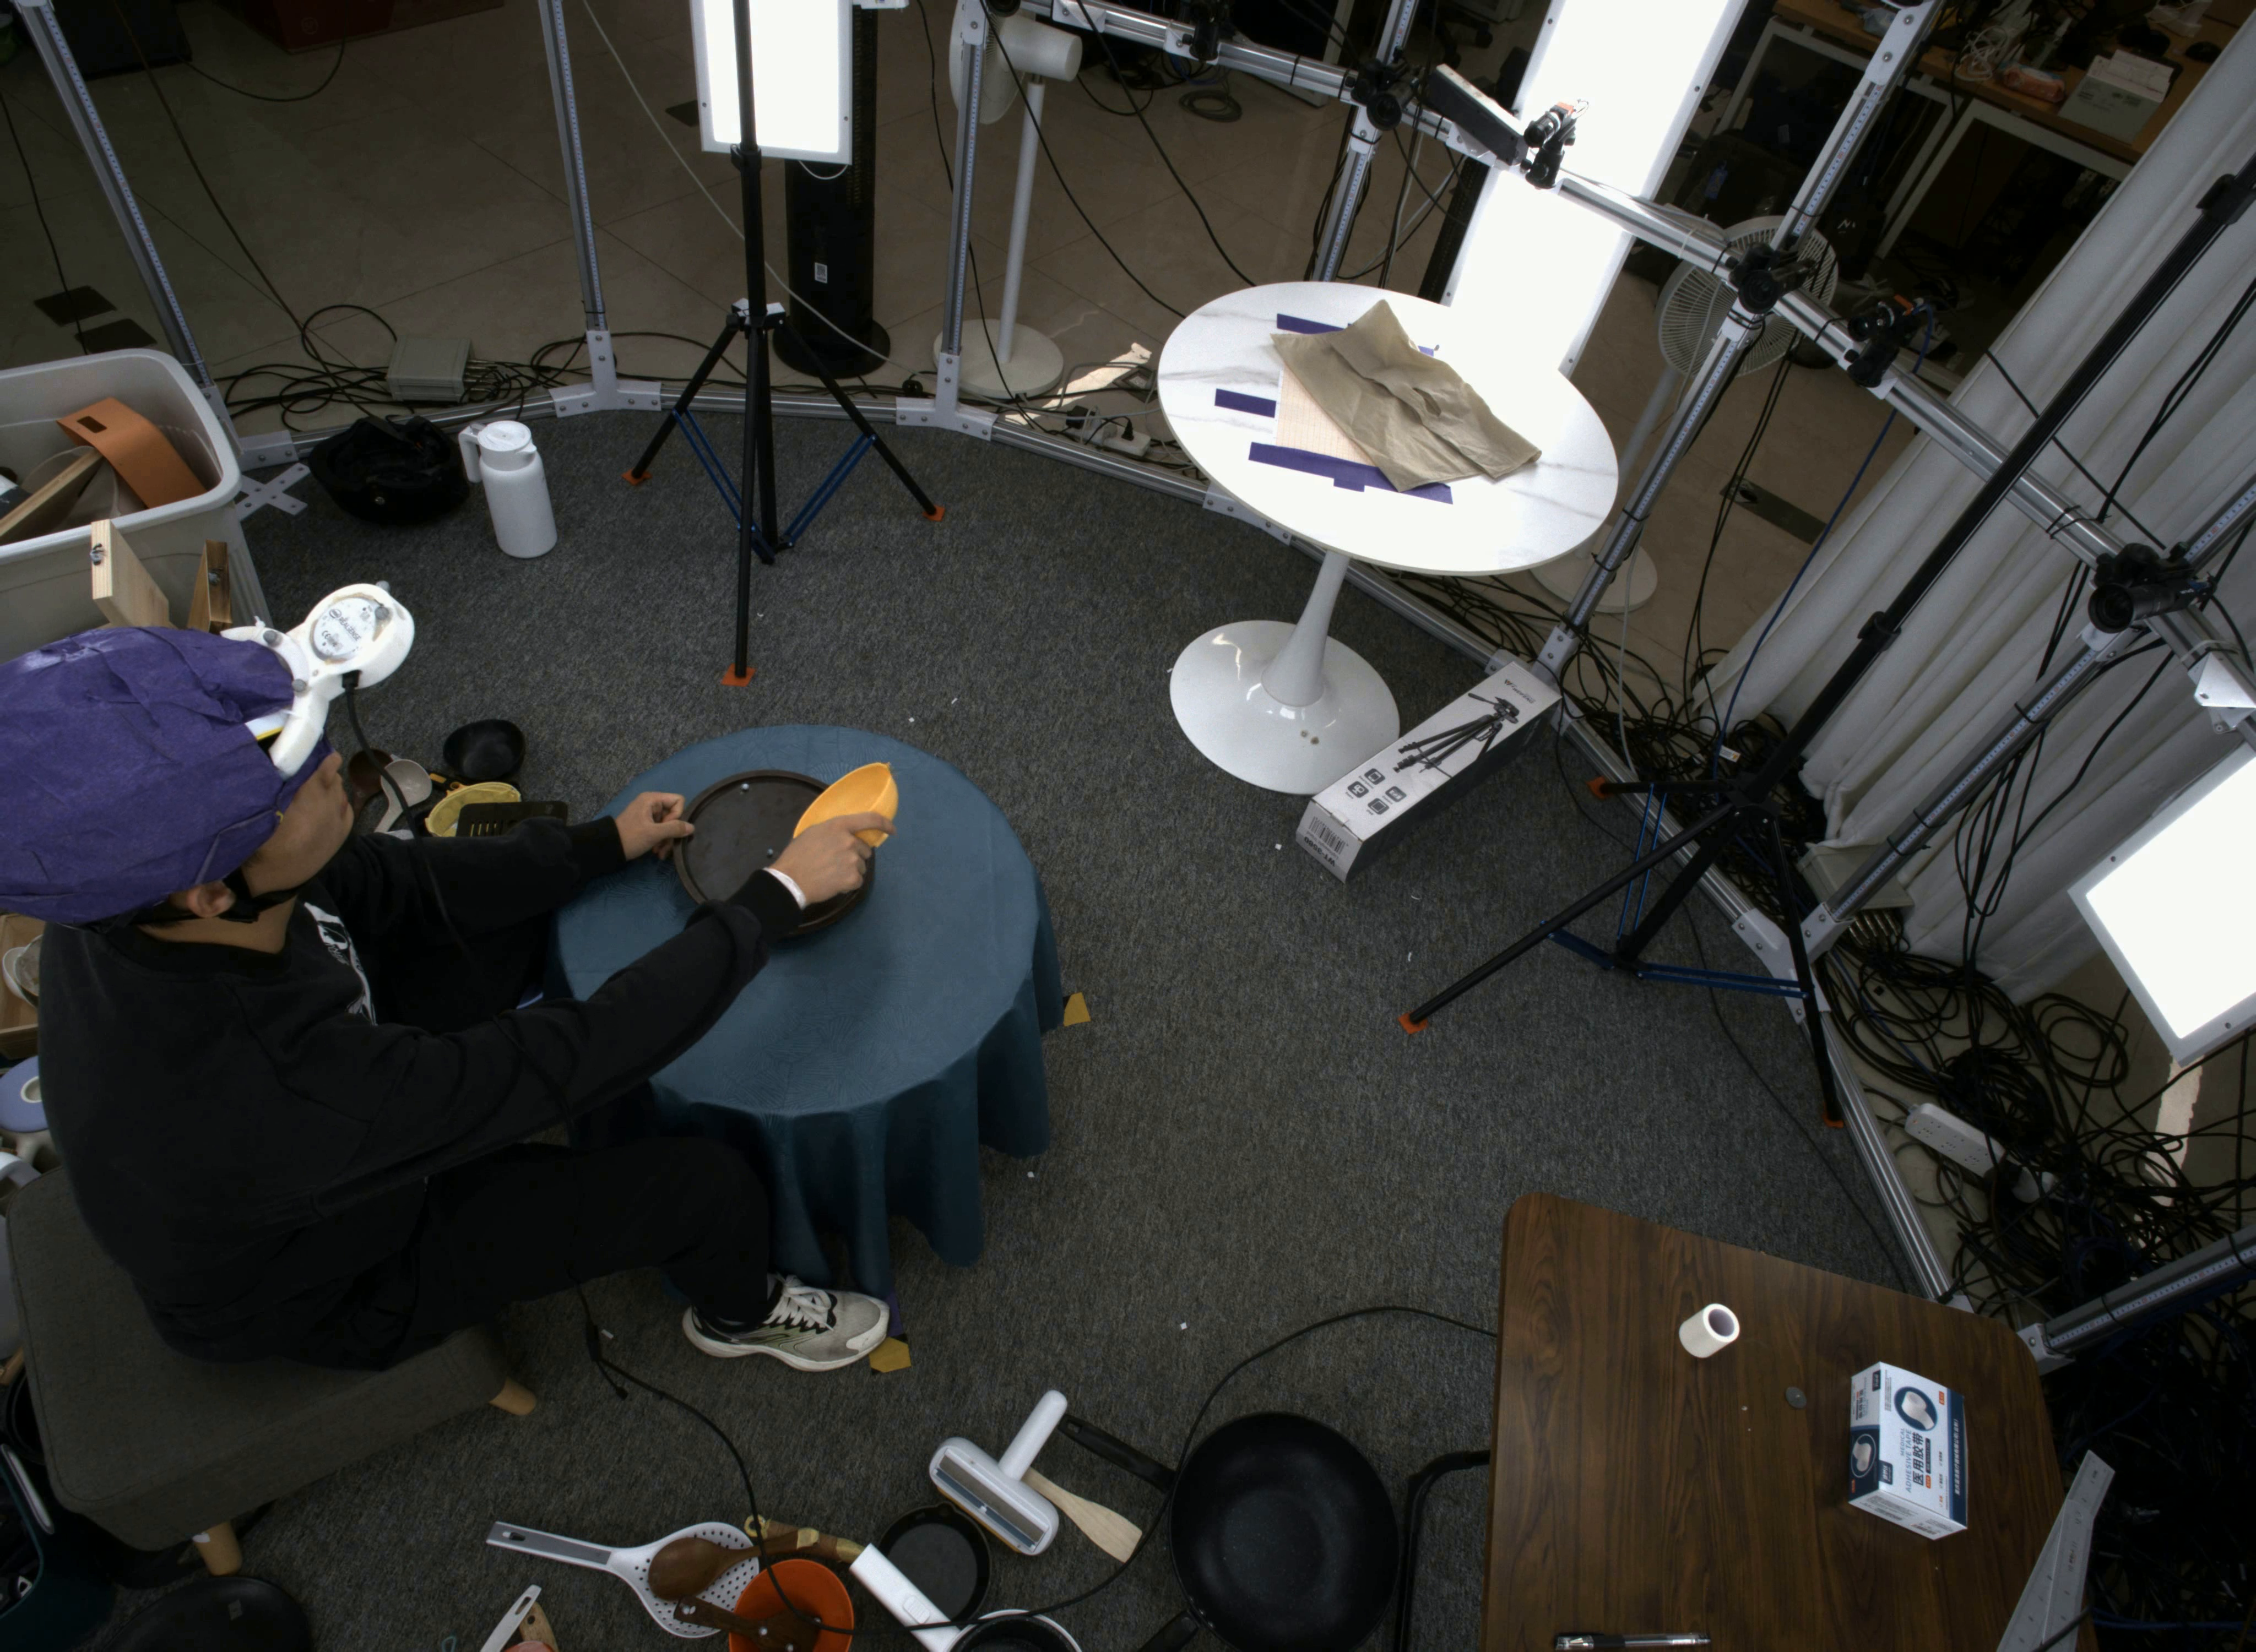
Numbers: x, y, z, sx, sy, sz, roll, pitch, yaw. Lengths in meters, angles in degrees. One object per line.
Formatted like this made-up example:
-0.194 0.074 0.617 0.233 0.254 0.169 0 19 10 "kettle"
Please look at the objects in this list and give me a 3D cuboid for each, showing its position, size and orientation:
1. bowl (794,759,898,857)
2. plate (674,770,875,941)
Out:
-0.327 -0.011 1.560 0.143 0.062 0.142 -25 31 19 "bowl"
-0.452 0.034 1.662 0.257 0.029 0.251 13 55 -17 "plate"
